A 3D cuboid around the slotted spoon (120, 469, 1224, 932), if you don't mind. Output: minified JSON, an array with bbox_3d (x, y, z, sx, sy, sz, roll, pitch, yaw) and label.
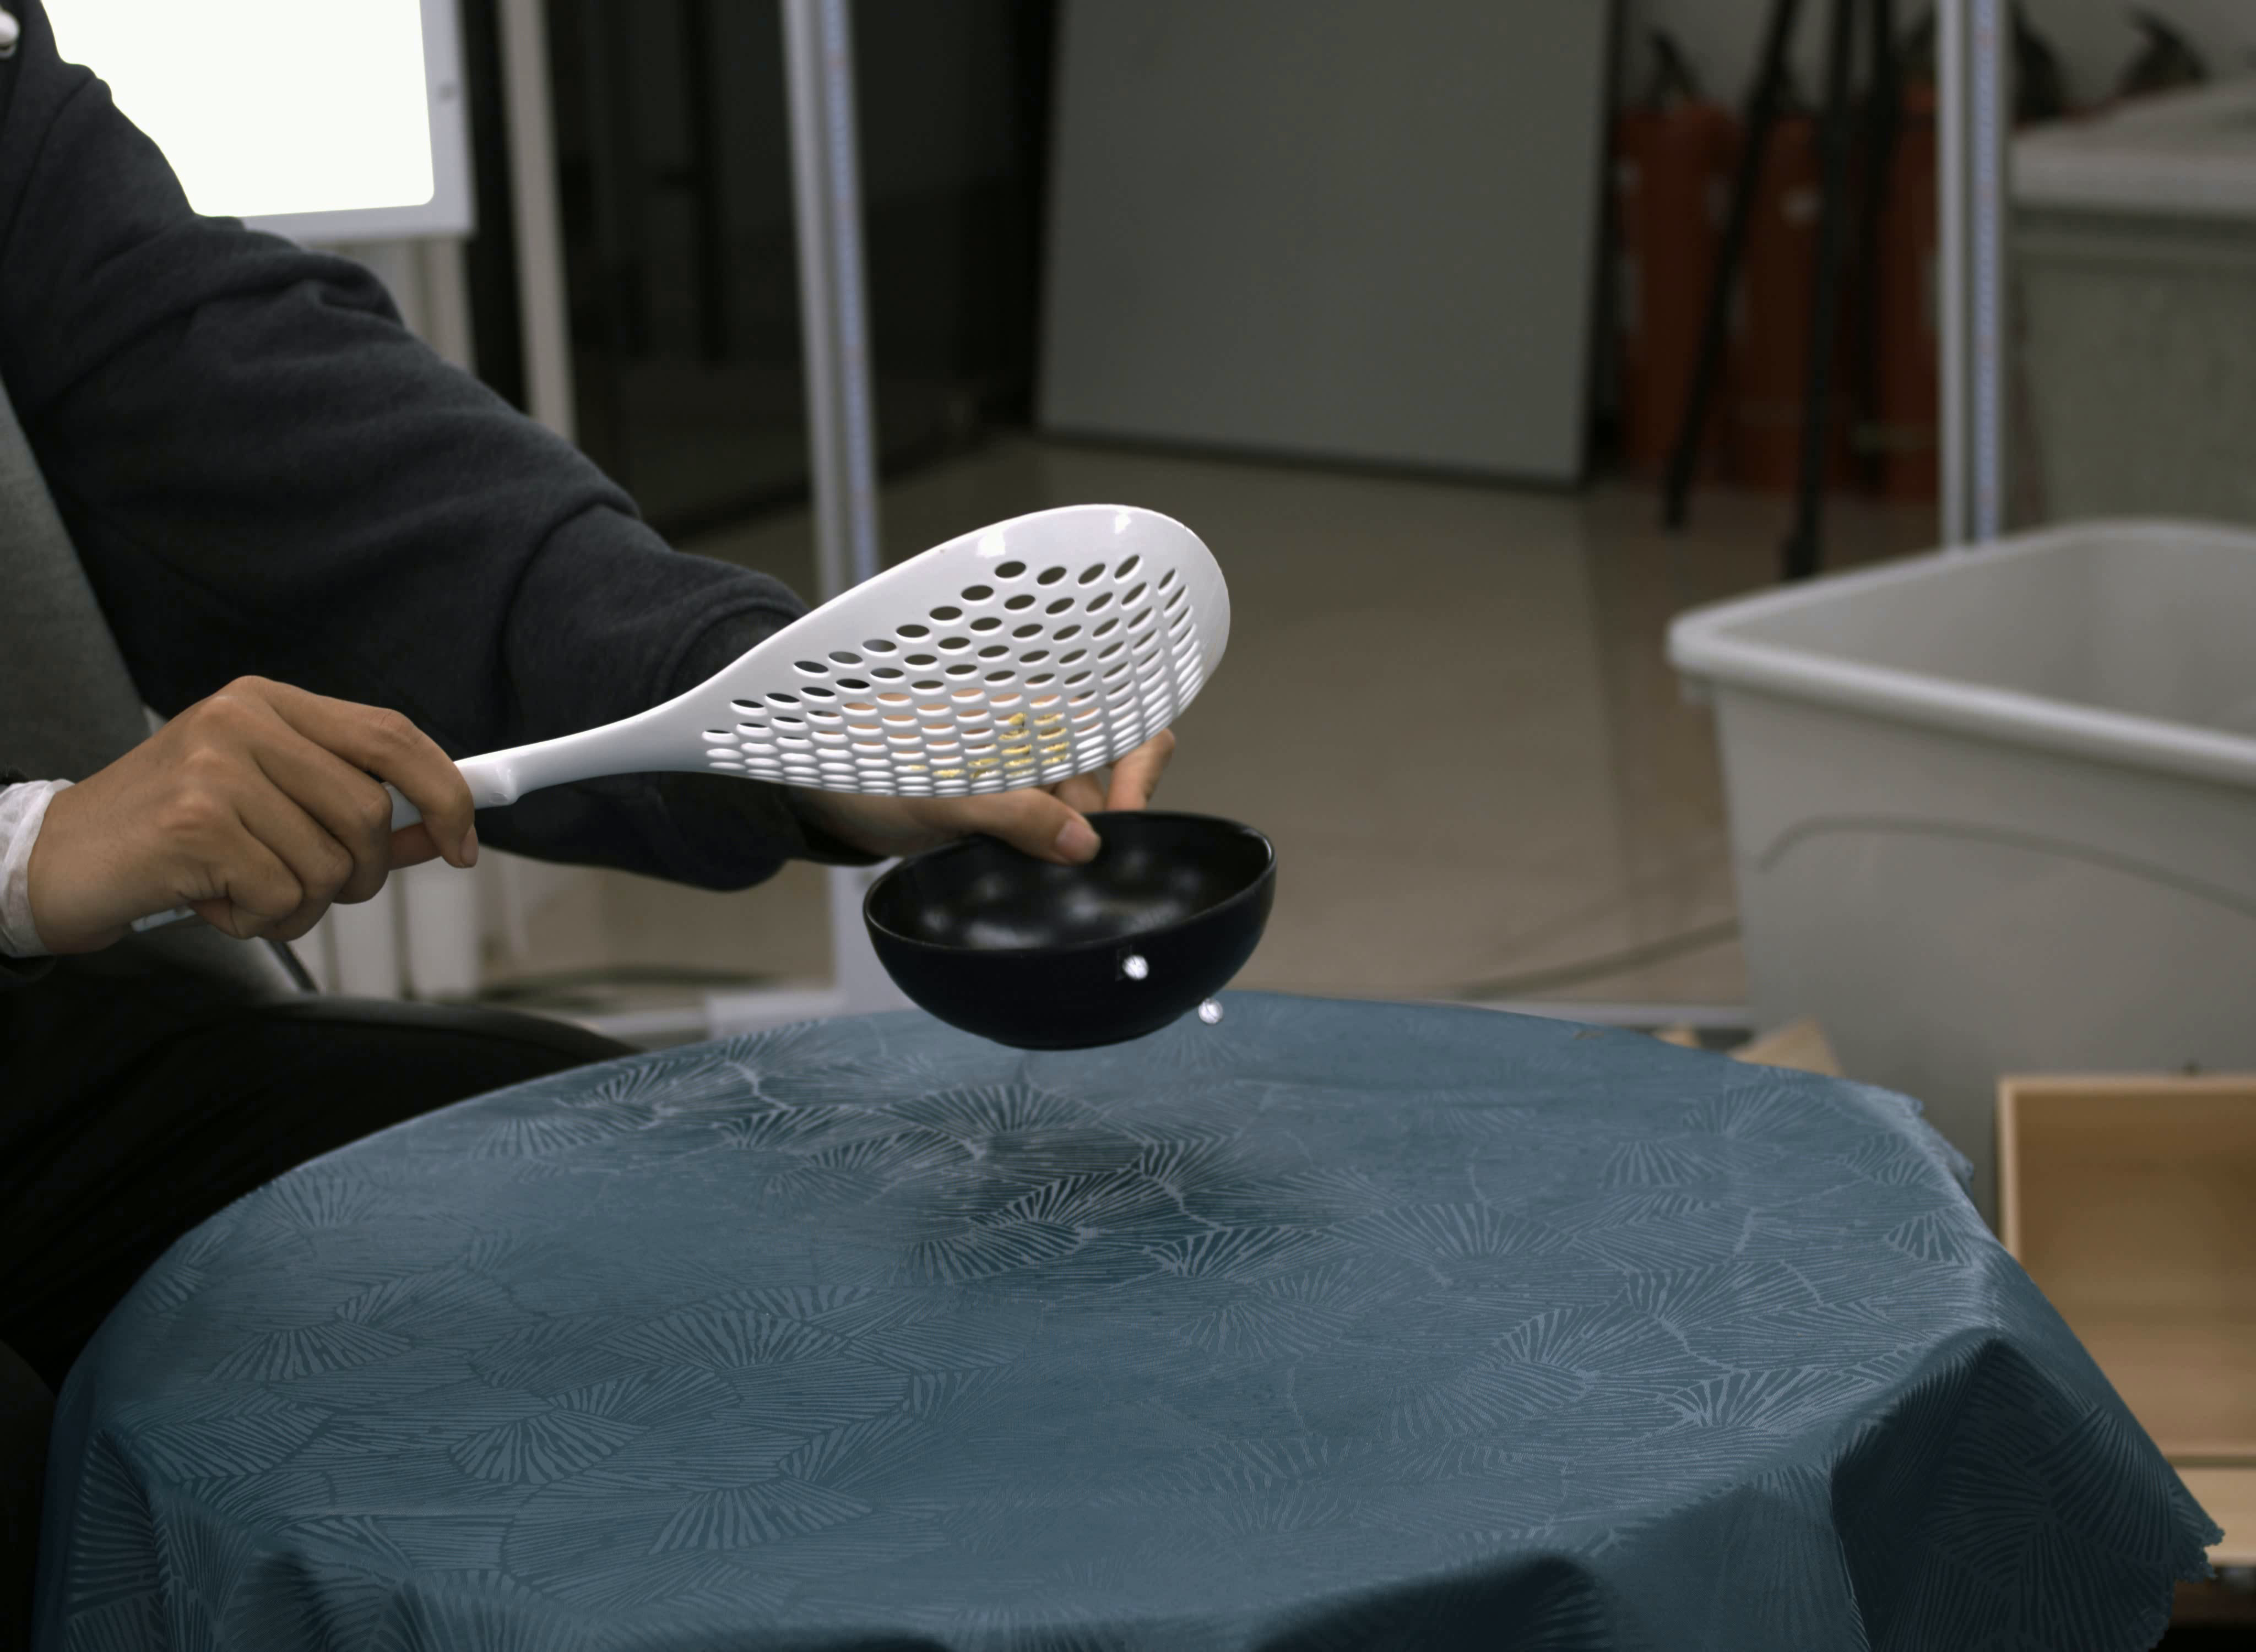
[{"bbox_3d":[-0.134,-0.023,1.629,0.343,0.051,0.137,-12,-30,-2],"label":"slotted spoon"}]
